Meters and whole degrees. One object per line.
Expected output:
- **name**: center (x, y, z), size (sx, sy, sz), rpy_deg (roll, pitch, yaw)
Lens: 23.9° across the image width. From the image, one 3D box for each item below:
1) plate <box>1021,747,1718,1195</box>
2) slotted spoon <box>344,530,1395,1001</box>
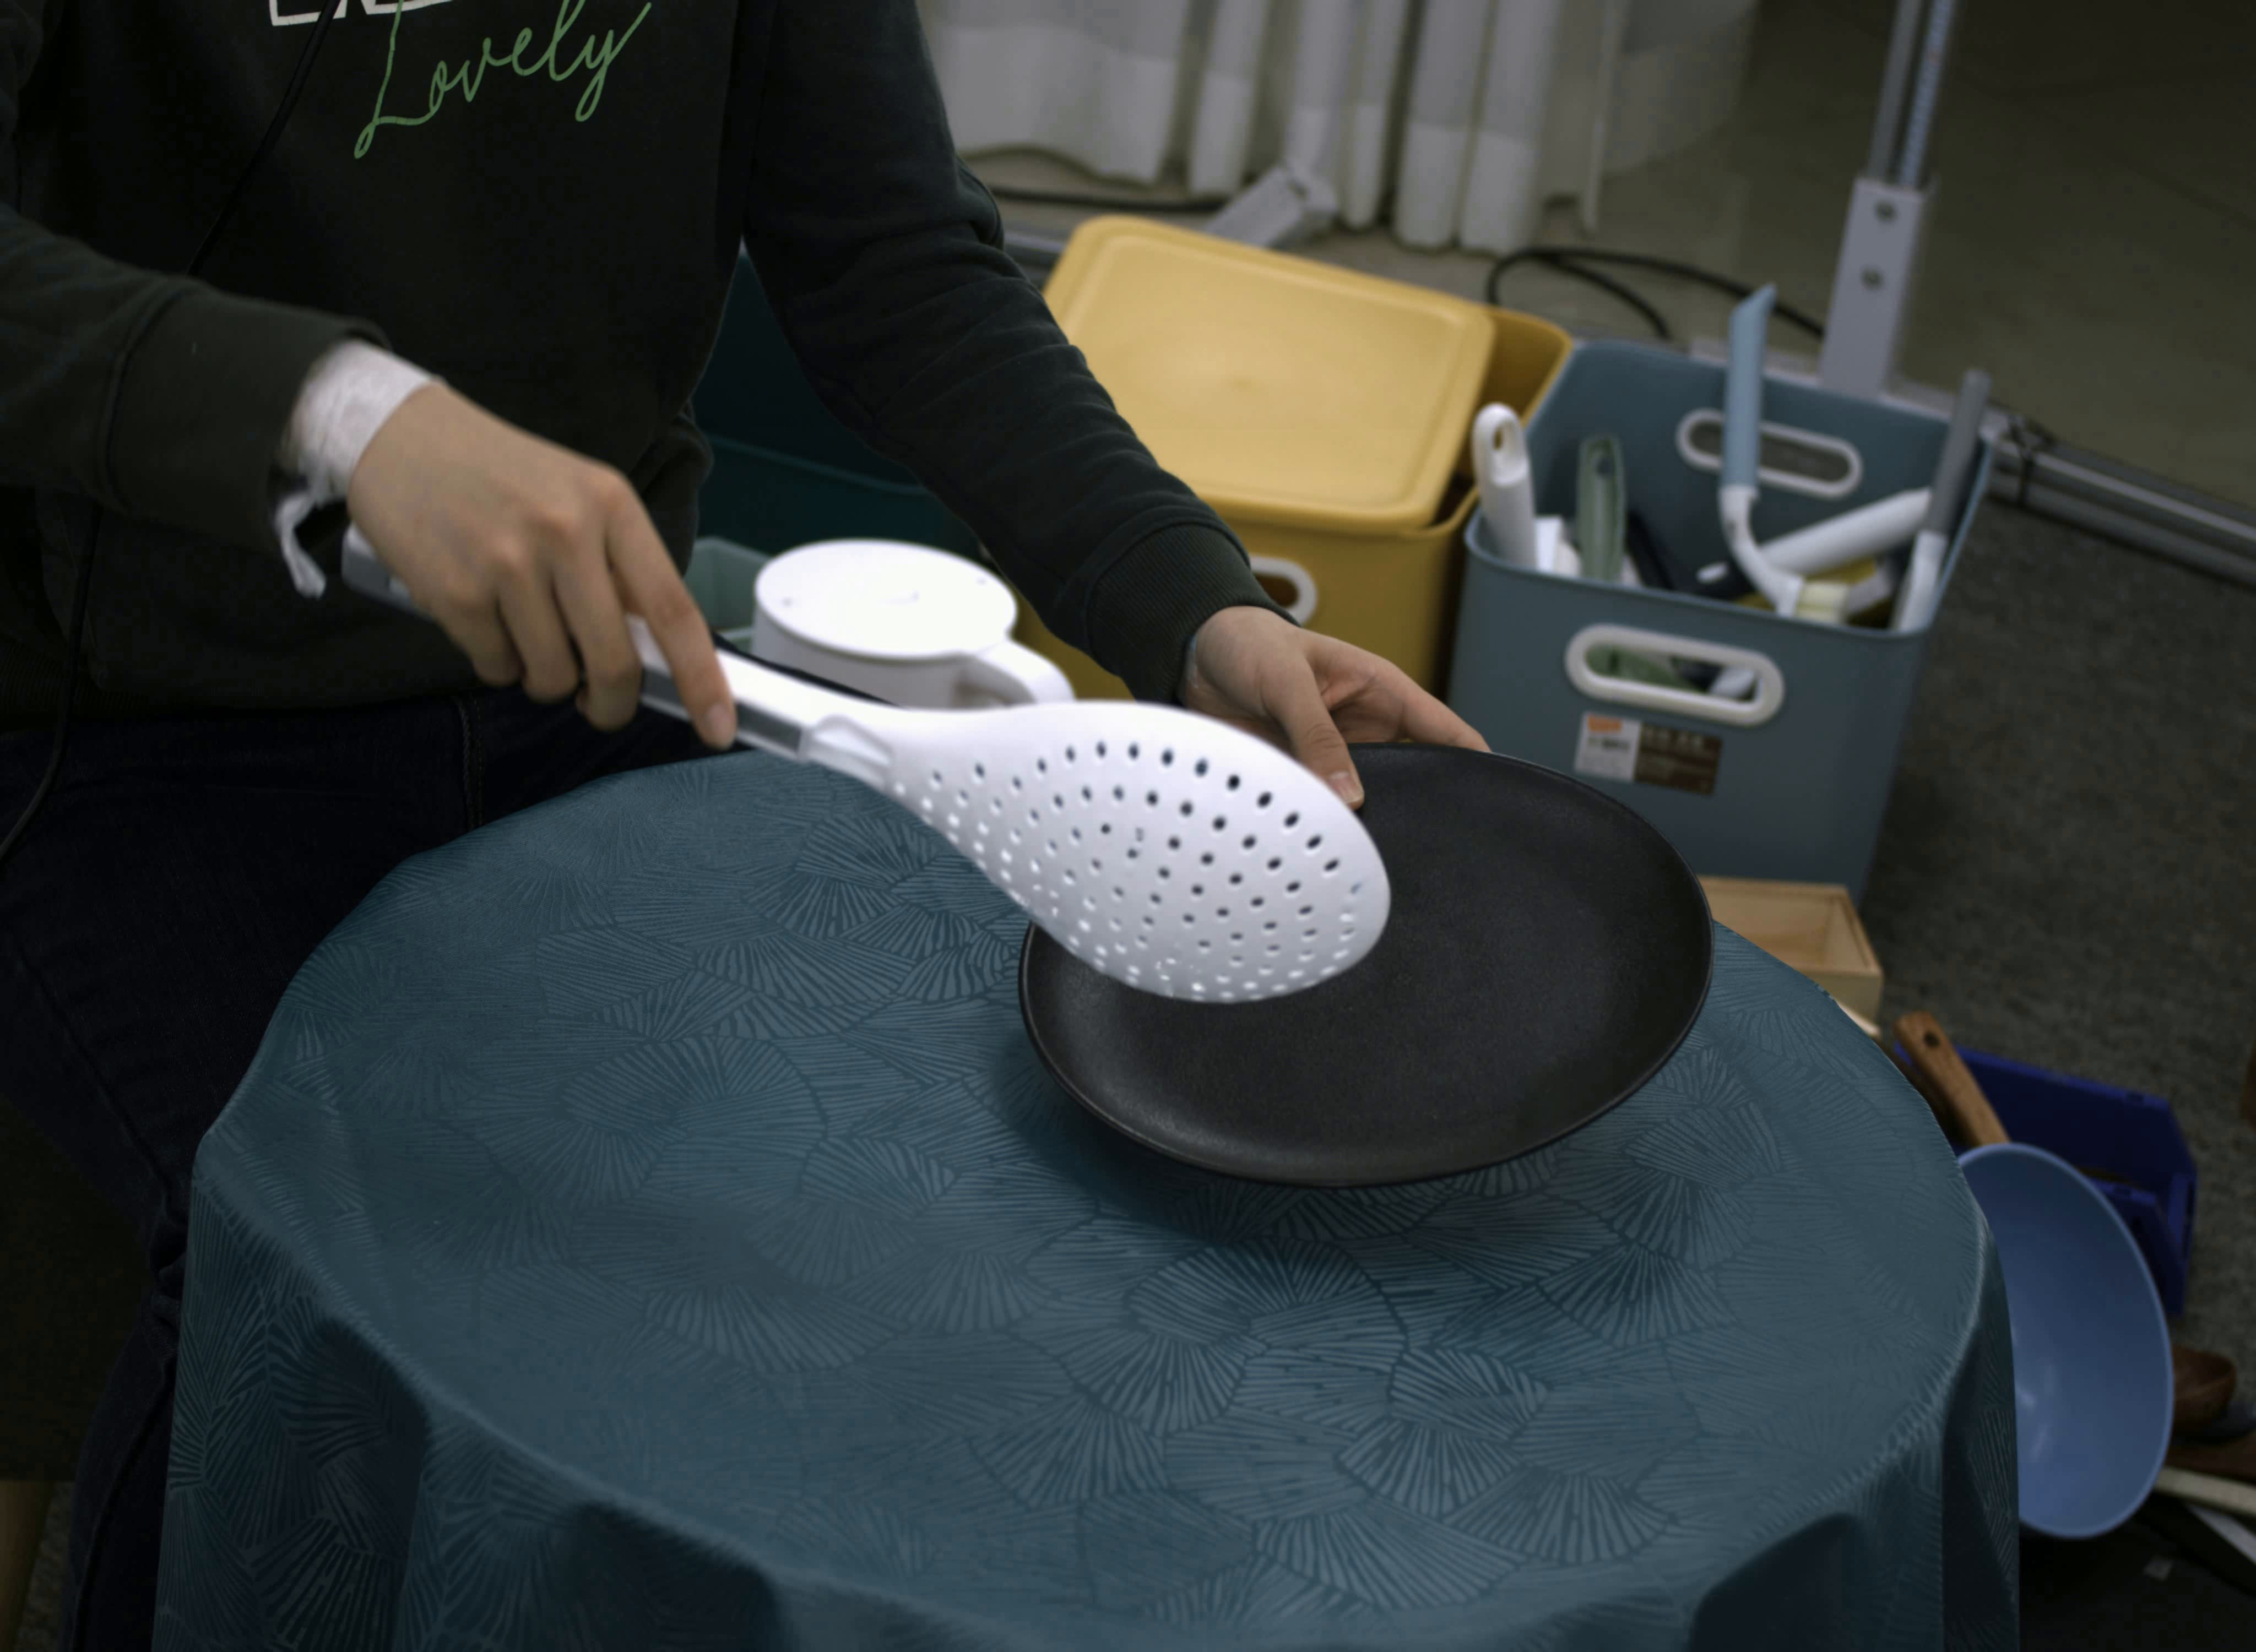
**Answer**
- **plate**: center (0.084, 0.053, 1.855), size (0.244, 0.023, 0.246), rpy_deg (-5, 37, 3)
- **slotted spoon**: center (-0.085, -0.025, 1.675), size (0.350, 0.135, 0.046), rpy_deg (24, 54, 9)
